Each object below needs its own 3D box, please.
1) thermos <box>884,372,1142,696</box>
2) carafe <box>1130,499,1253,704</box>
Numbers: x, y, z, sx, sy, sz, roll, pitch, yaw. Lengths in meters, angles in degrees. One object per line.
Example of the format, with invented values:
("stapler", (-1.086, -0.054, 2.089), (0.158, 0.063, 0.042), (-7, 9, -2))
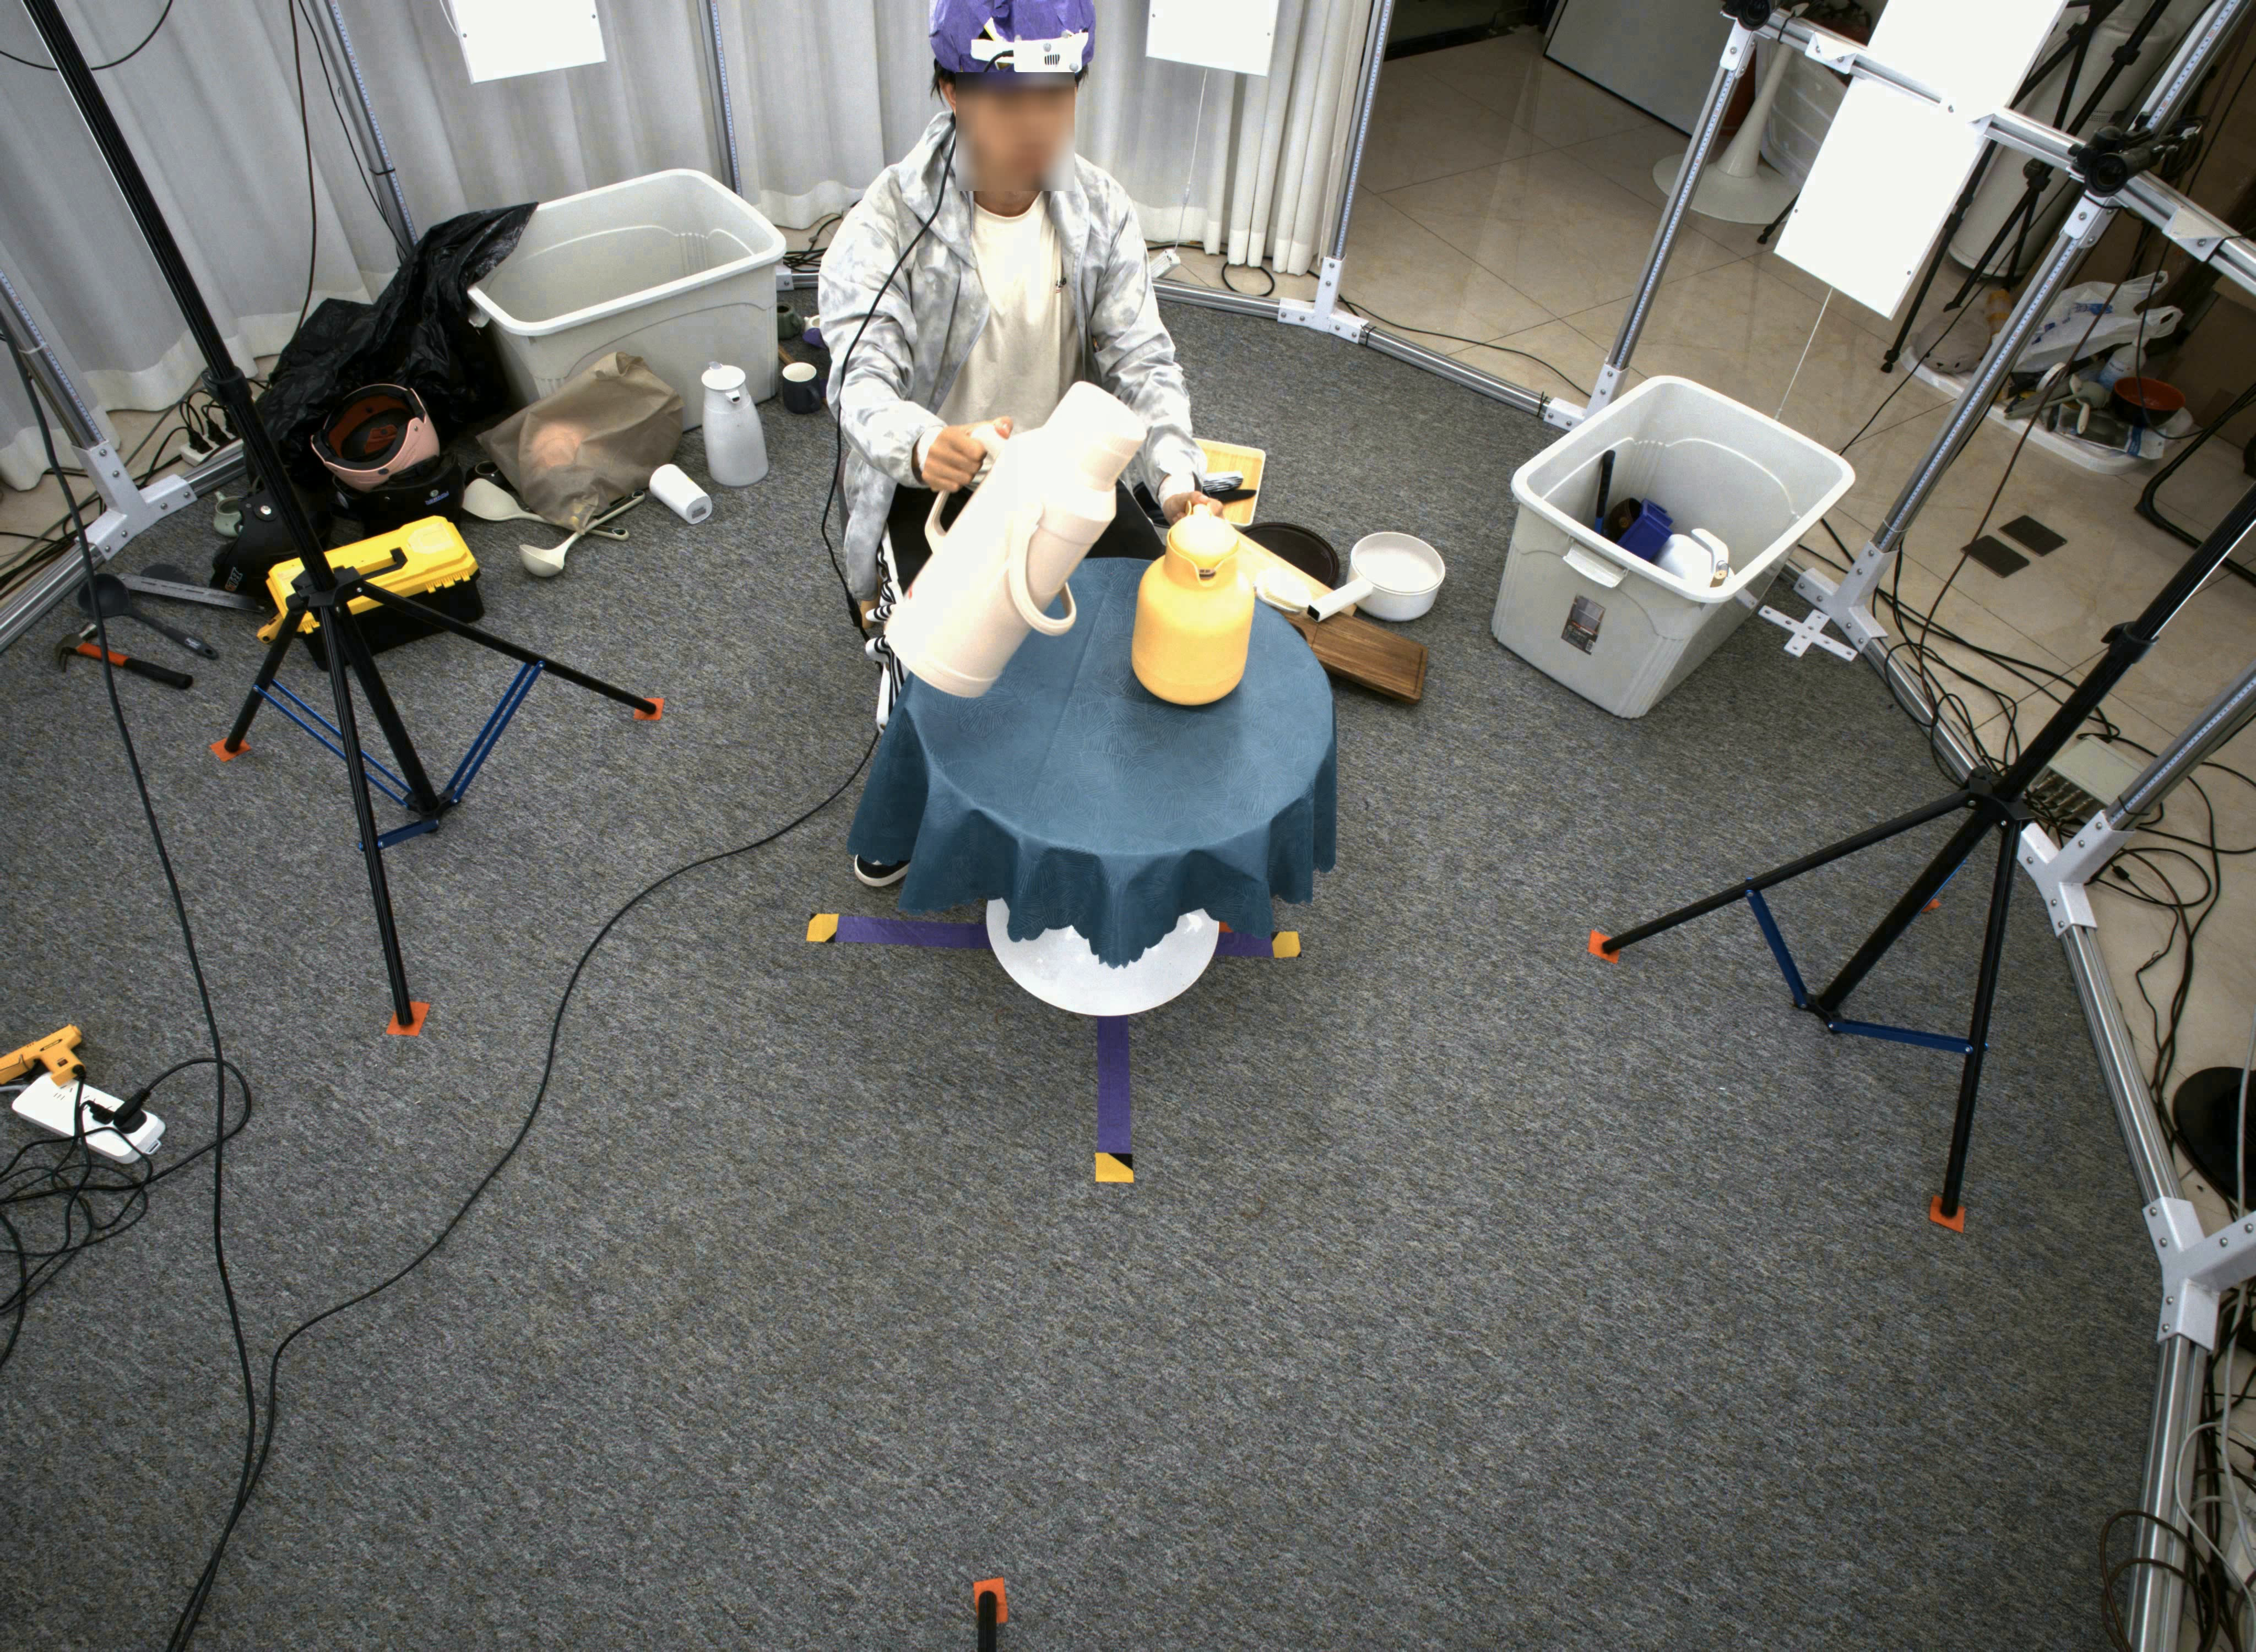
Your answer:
("thermos", (-0.147, -0.364, 1.582), (0.207, 0.400, 0.178), (39, 30, -3))
("carafe", (0.092, -0.317, 1.775), (0.163, 0.254, 0.207), (3, 49, -4))
